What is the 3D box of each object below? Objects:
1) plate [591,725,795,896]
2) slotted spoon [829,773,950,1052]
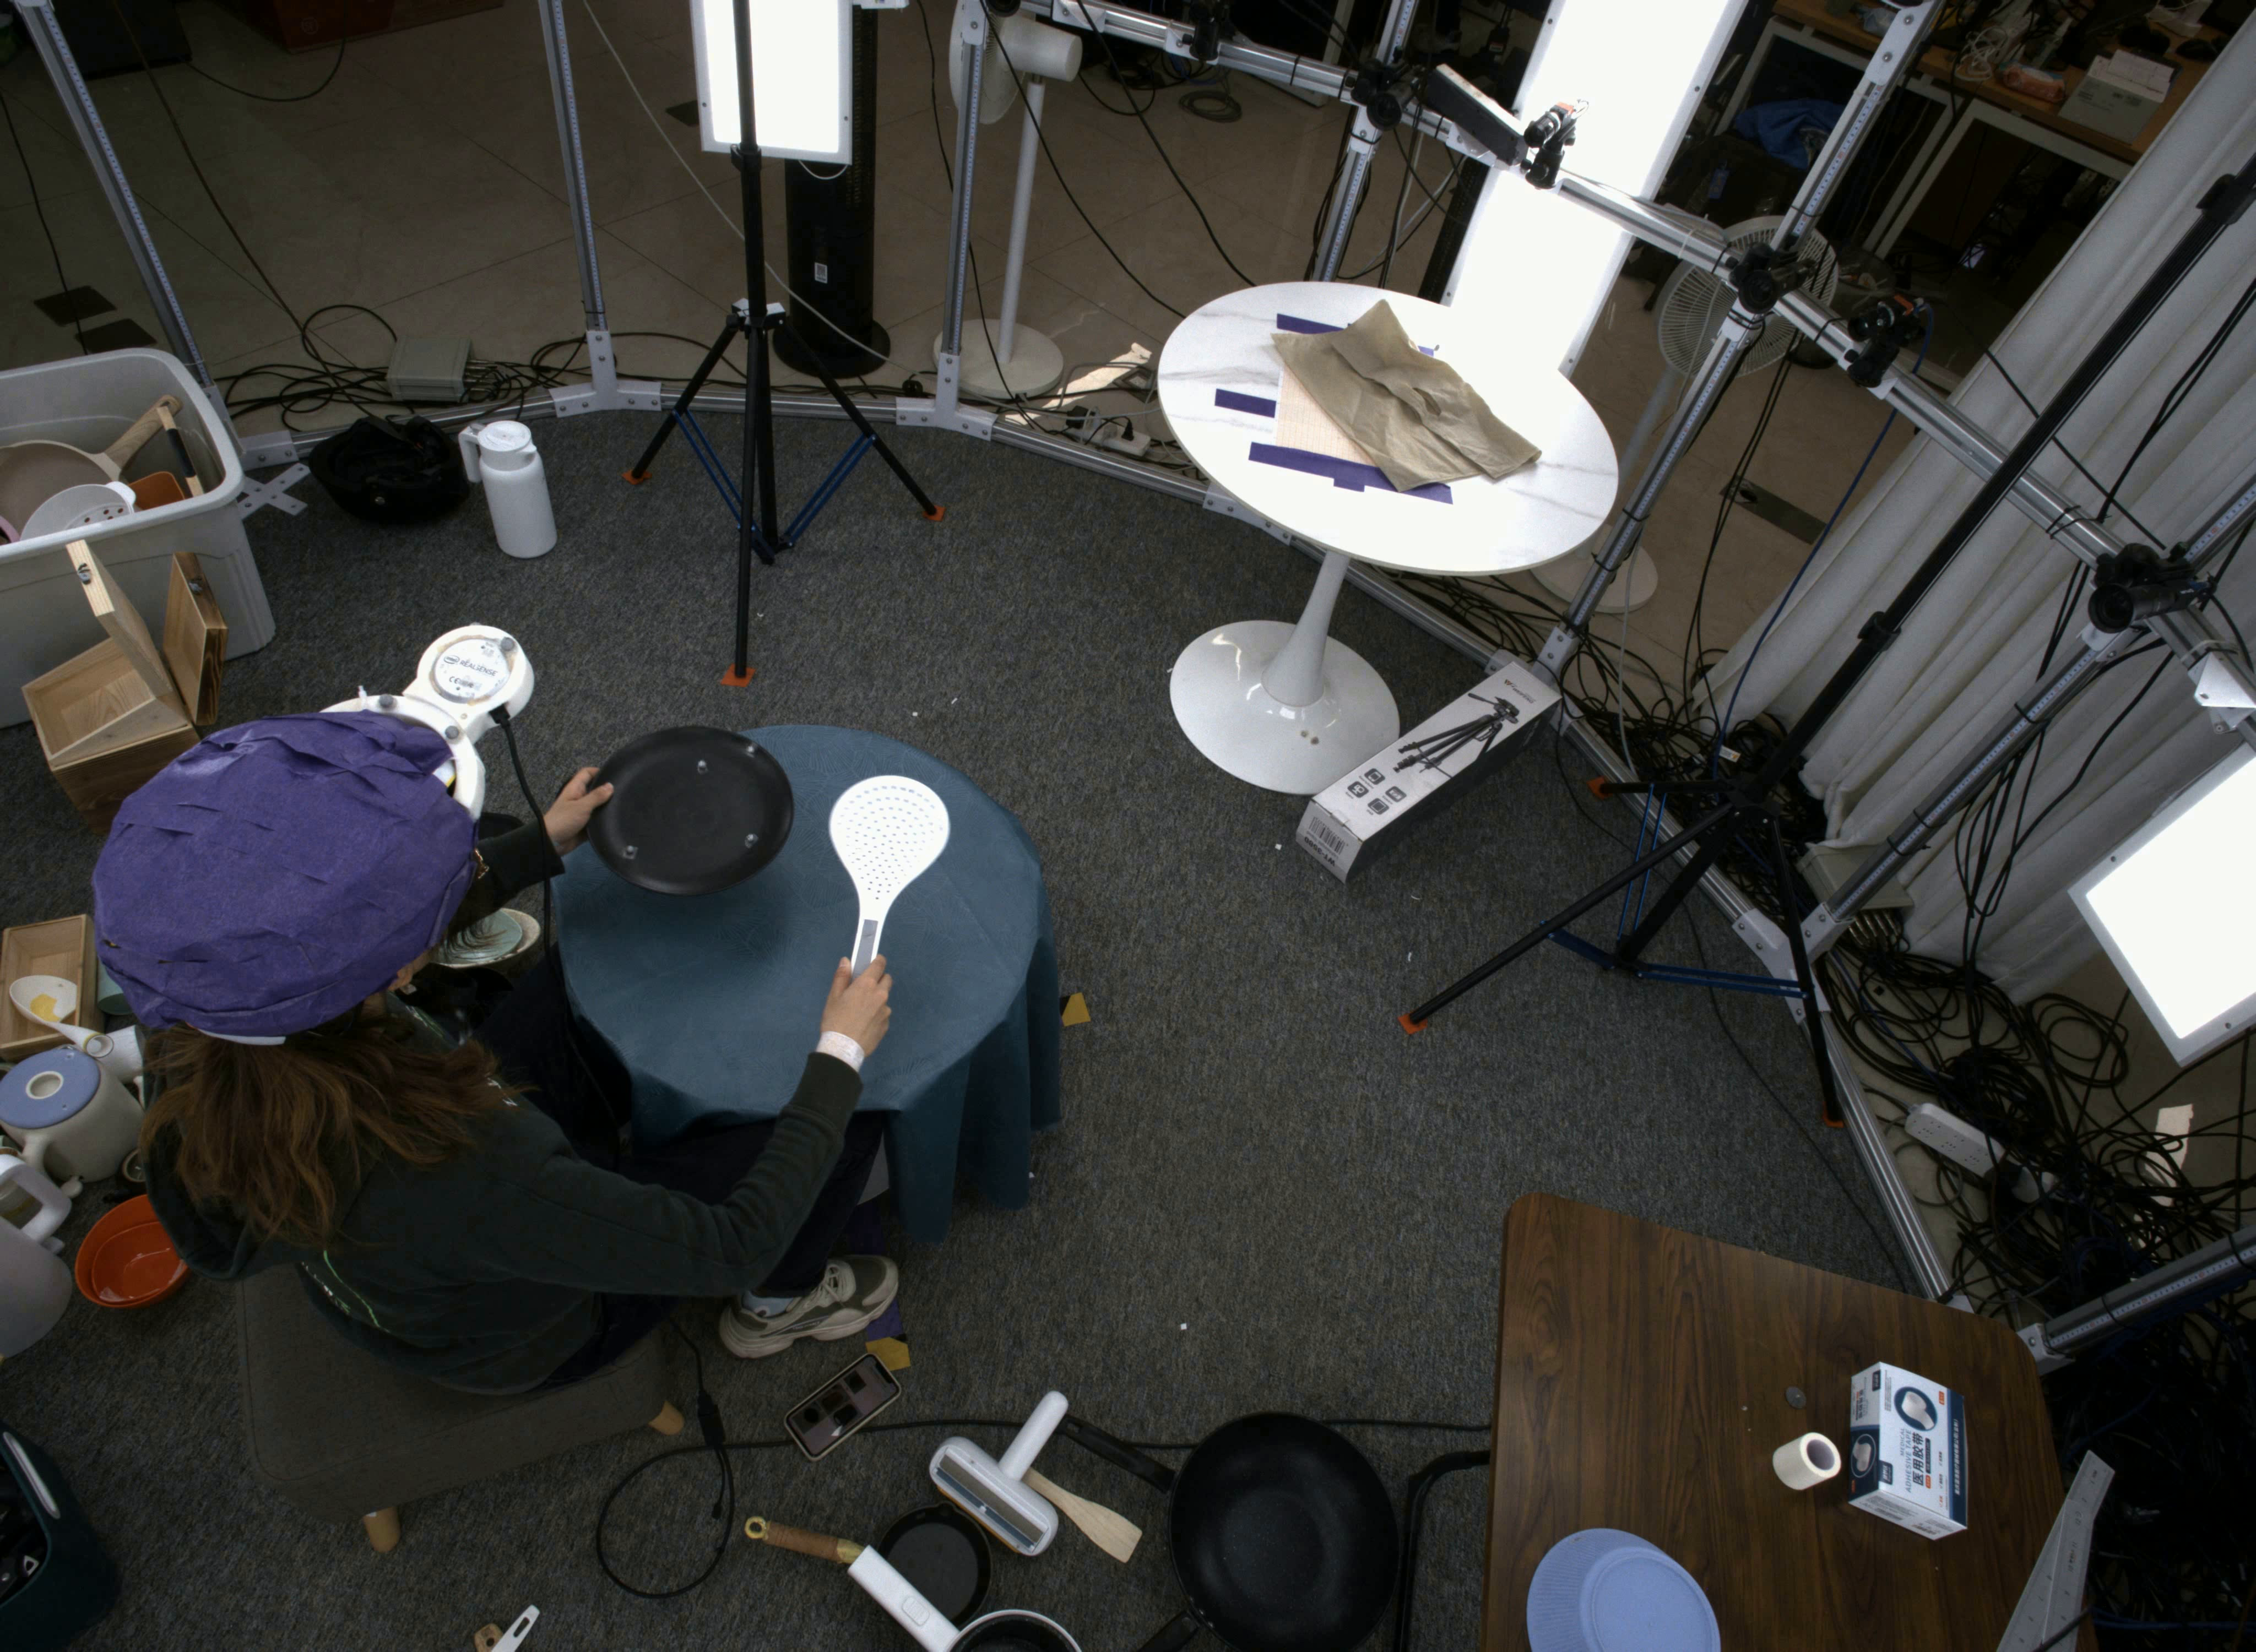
[{"bbox_3d":[-0.525,-0.018,1.551,0.244,0.024,0.240,8,57,-10],"label":"plate"},{"bbox_3d":[-0.289,0.090,1.480,0.135,0.046,0.344,10,55,-5],"label":"slotted spoon"}]
